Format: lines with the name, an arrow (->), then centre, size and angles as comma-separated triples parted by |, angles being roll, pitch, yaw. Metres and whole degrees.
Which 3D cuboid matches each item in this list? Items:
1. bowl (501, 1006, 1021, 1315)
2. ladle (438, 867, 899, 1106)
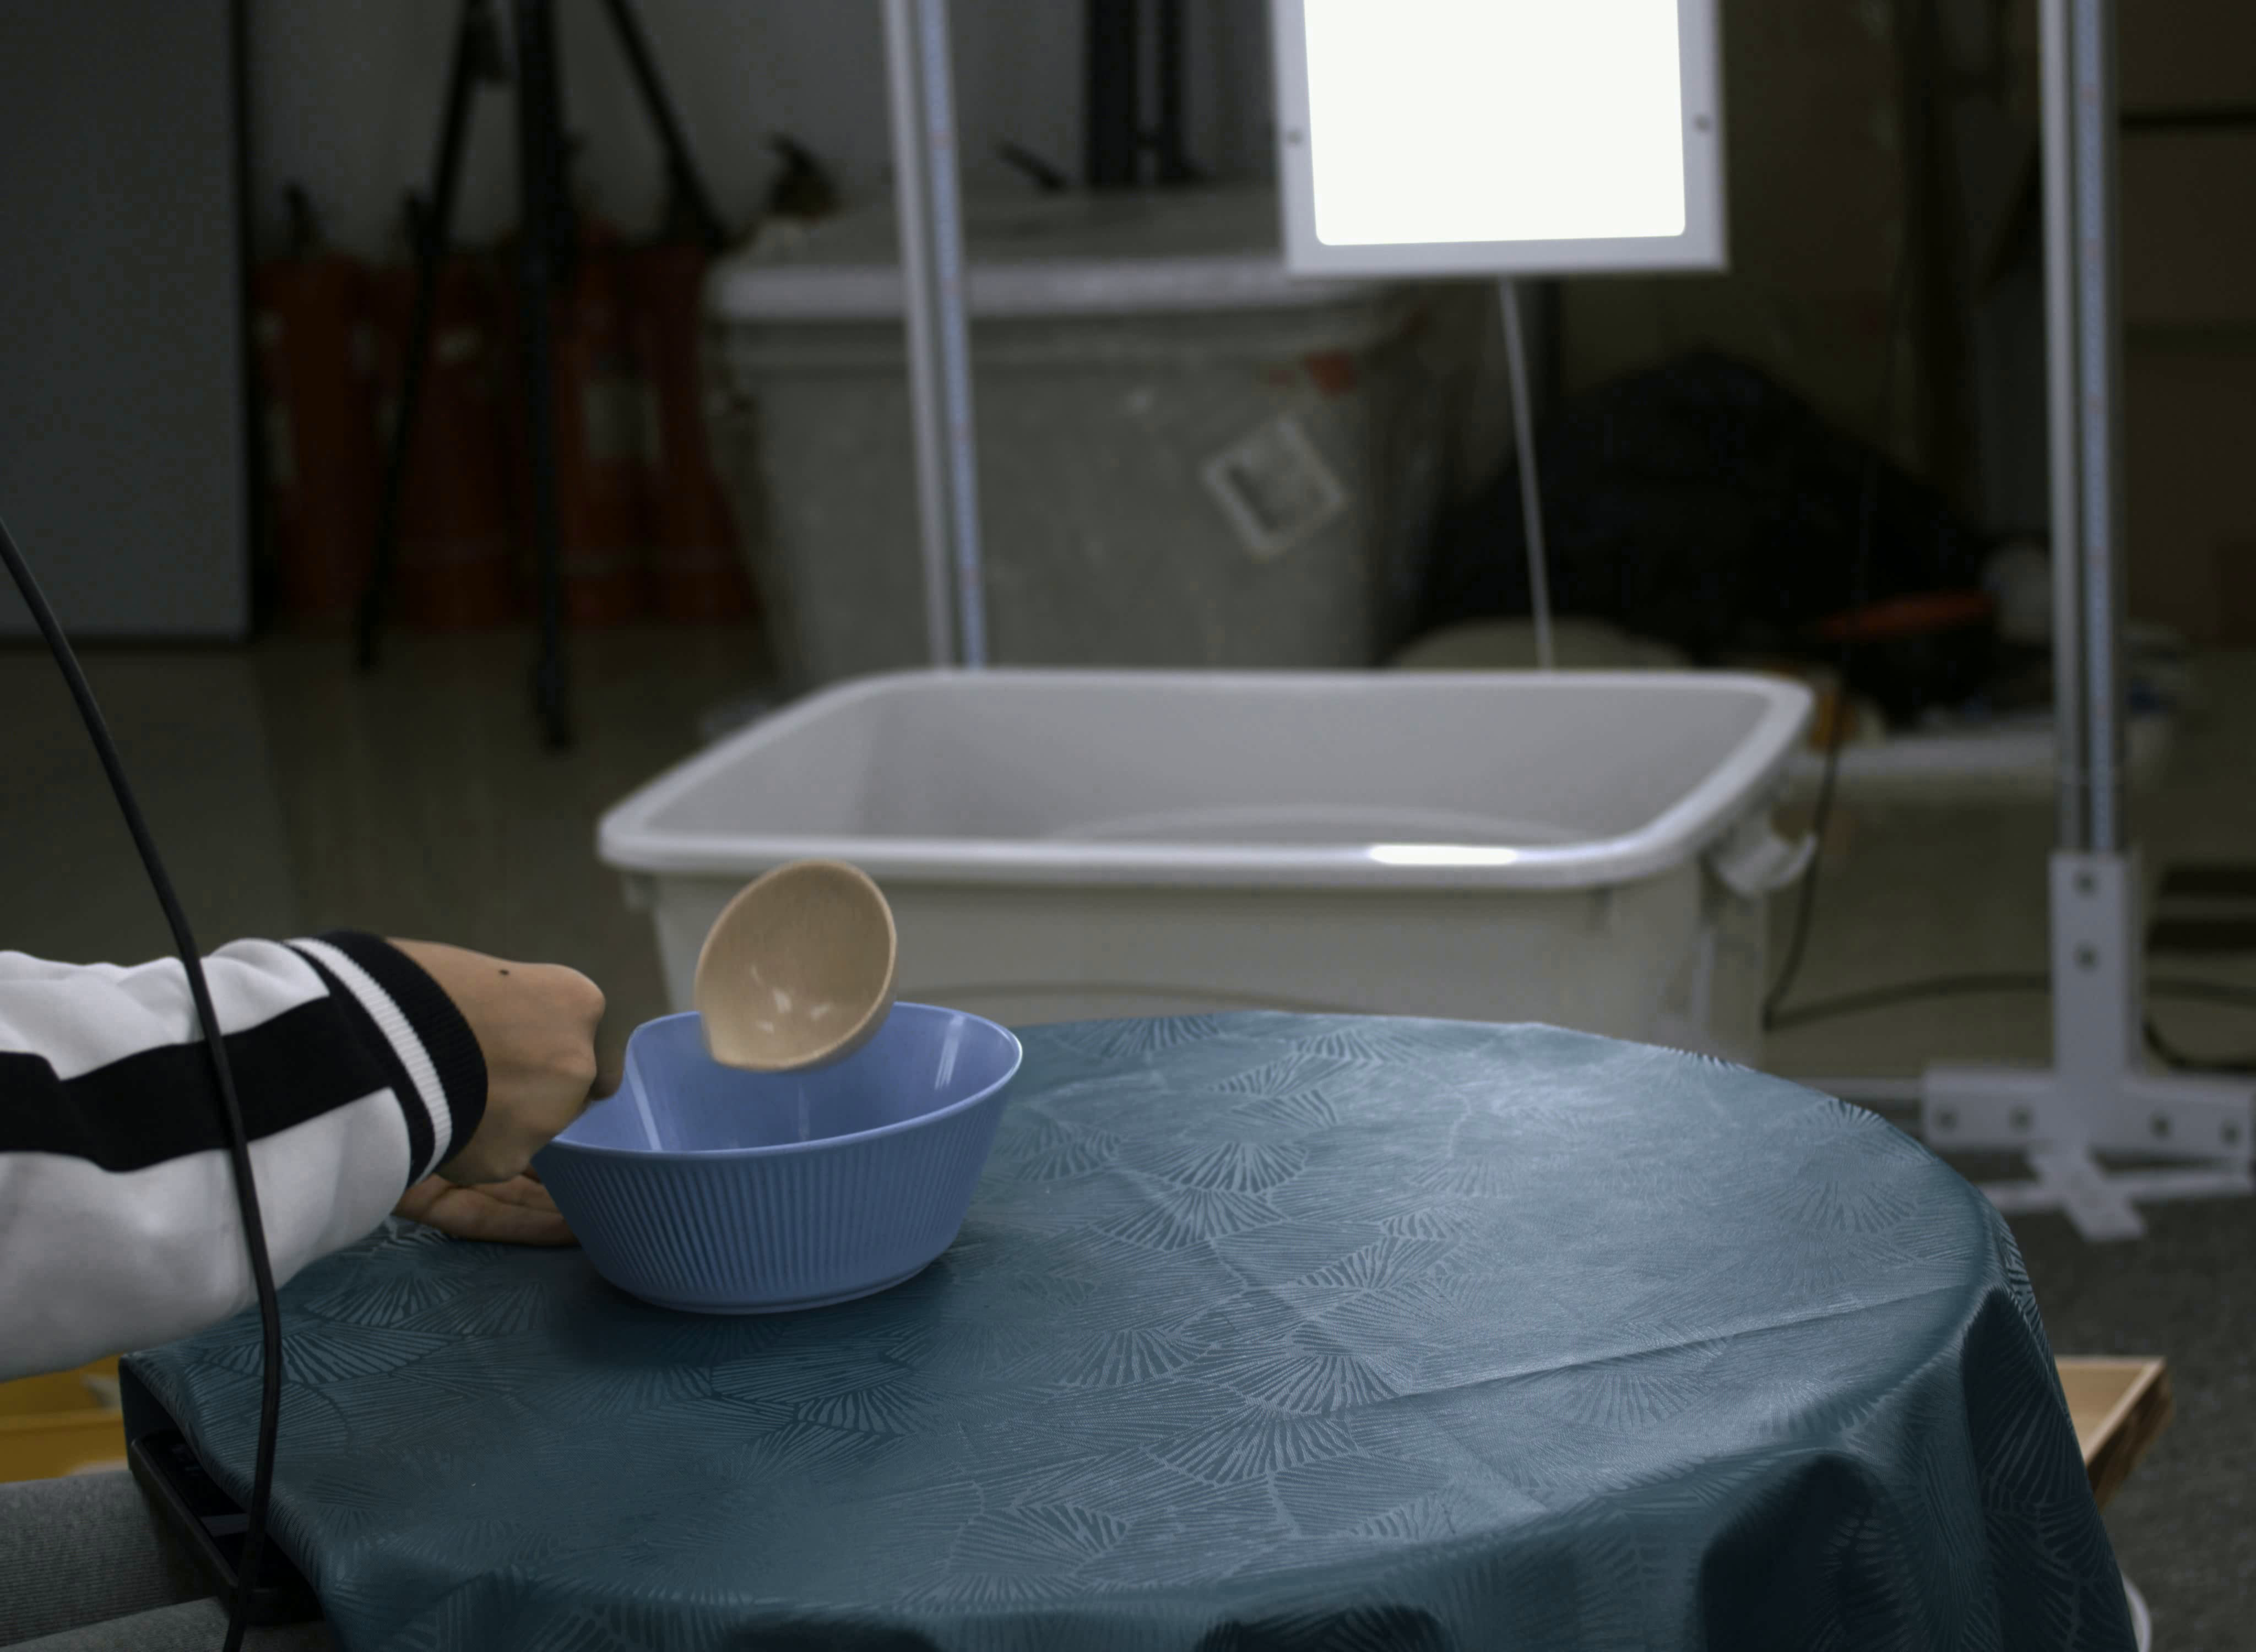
bowl -> -0.120, 0.114, 1.846 | 0.175, 0.070, 0.176 | -5, 13, 0
ladle -> -0.149, 0.049, 1.755 | 0.073, 0.073, 0.250 | 5, 1, 23
